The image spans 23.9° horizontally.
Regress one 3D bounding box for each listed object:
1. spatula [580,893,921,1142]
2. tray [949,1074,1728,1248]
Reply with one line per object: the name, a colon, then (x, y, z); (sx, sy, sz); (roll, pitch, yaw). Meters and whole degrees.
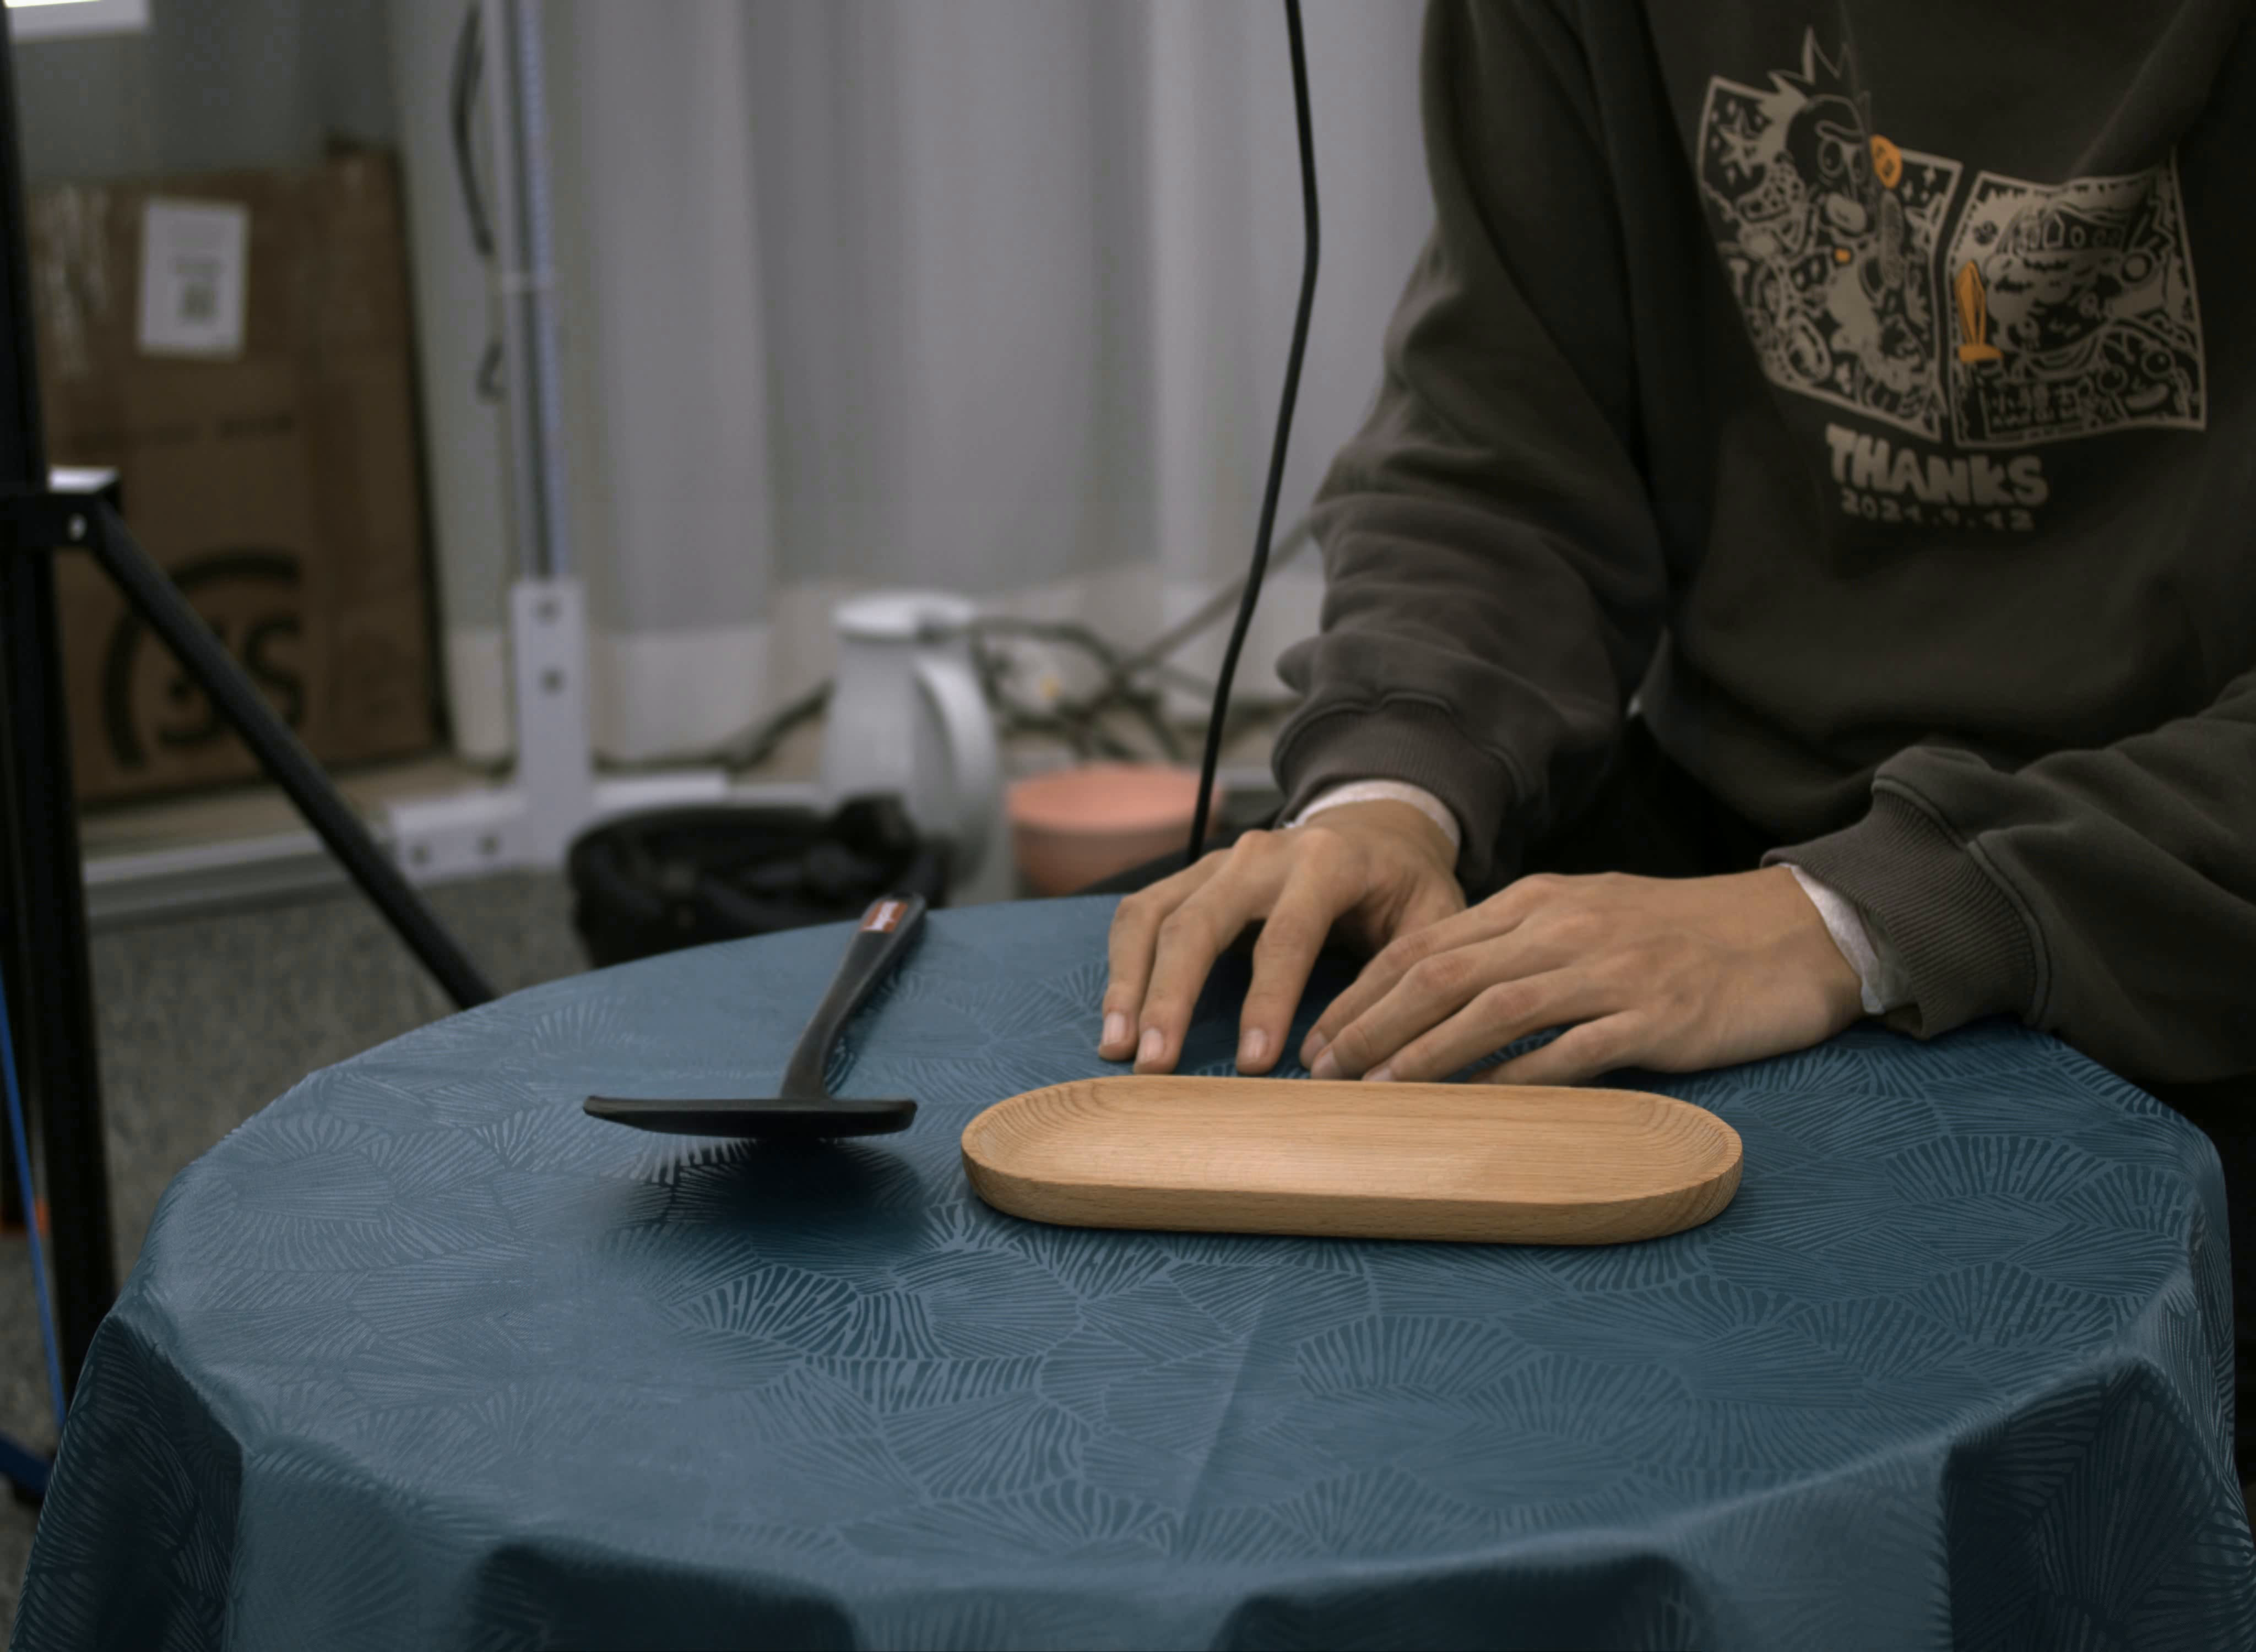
spatula: (-0.096, 0.056, 1.695); (0.100, 0.040, 0.326); (0, 16, 6)
tray: (0.061, 0.098, 1.557); (0.233, 0.020, 0.101); (0, 15, 15)
